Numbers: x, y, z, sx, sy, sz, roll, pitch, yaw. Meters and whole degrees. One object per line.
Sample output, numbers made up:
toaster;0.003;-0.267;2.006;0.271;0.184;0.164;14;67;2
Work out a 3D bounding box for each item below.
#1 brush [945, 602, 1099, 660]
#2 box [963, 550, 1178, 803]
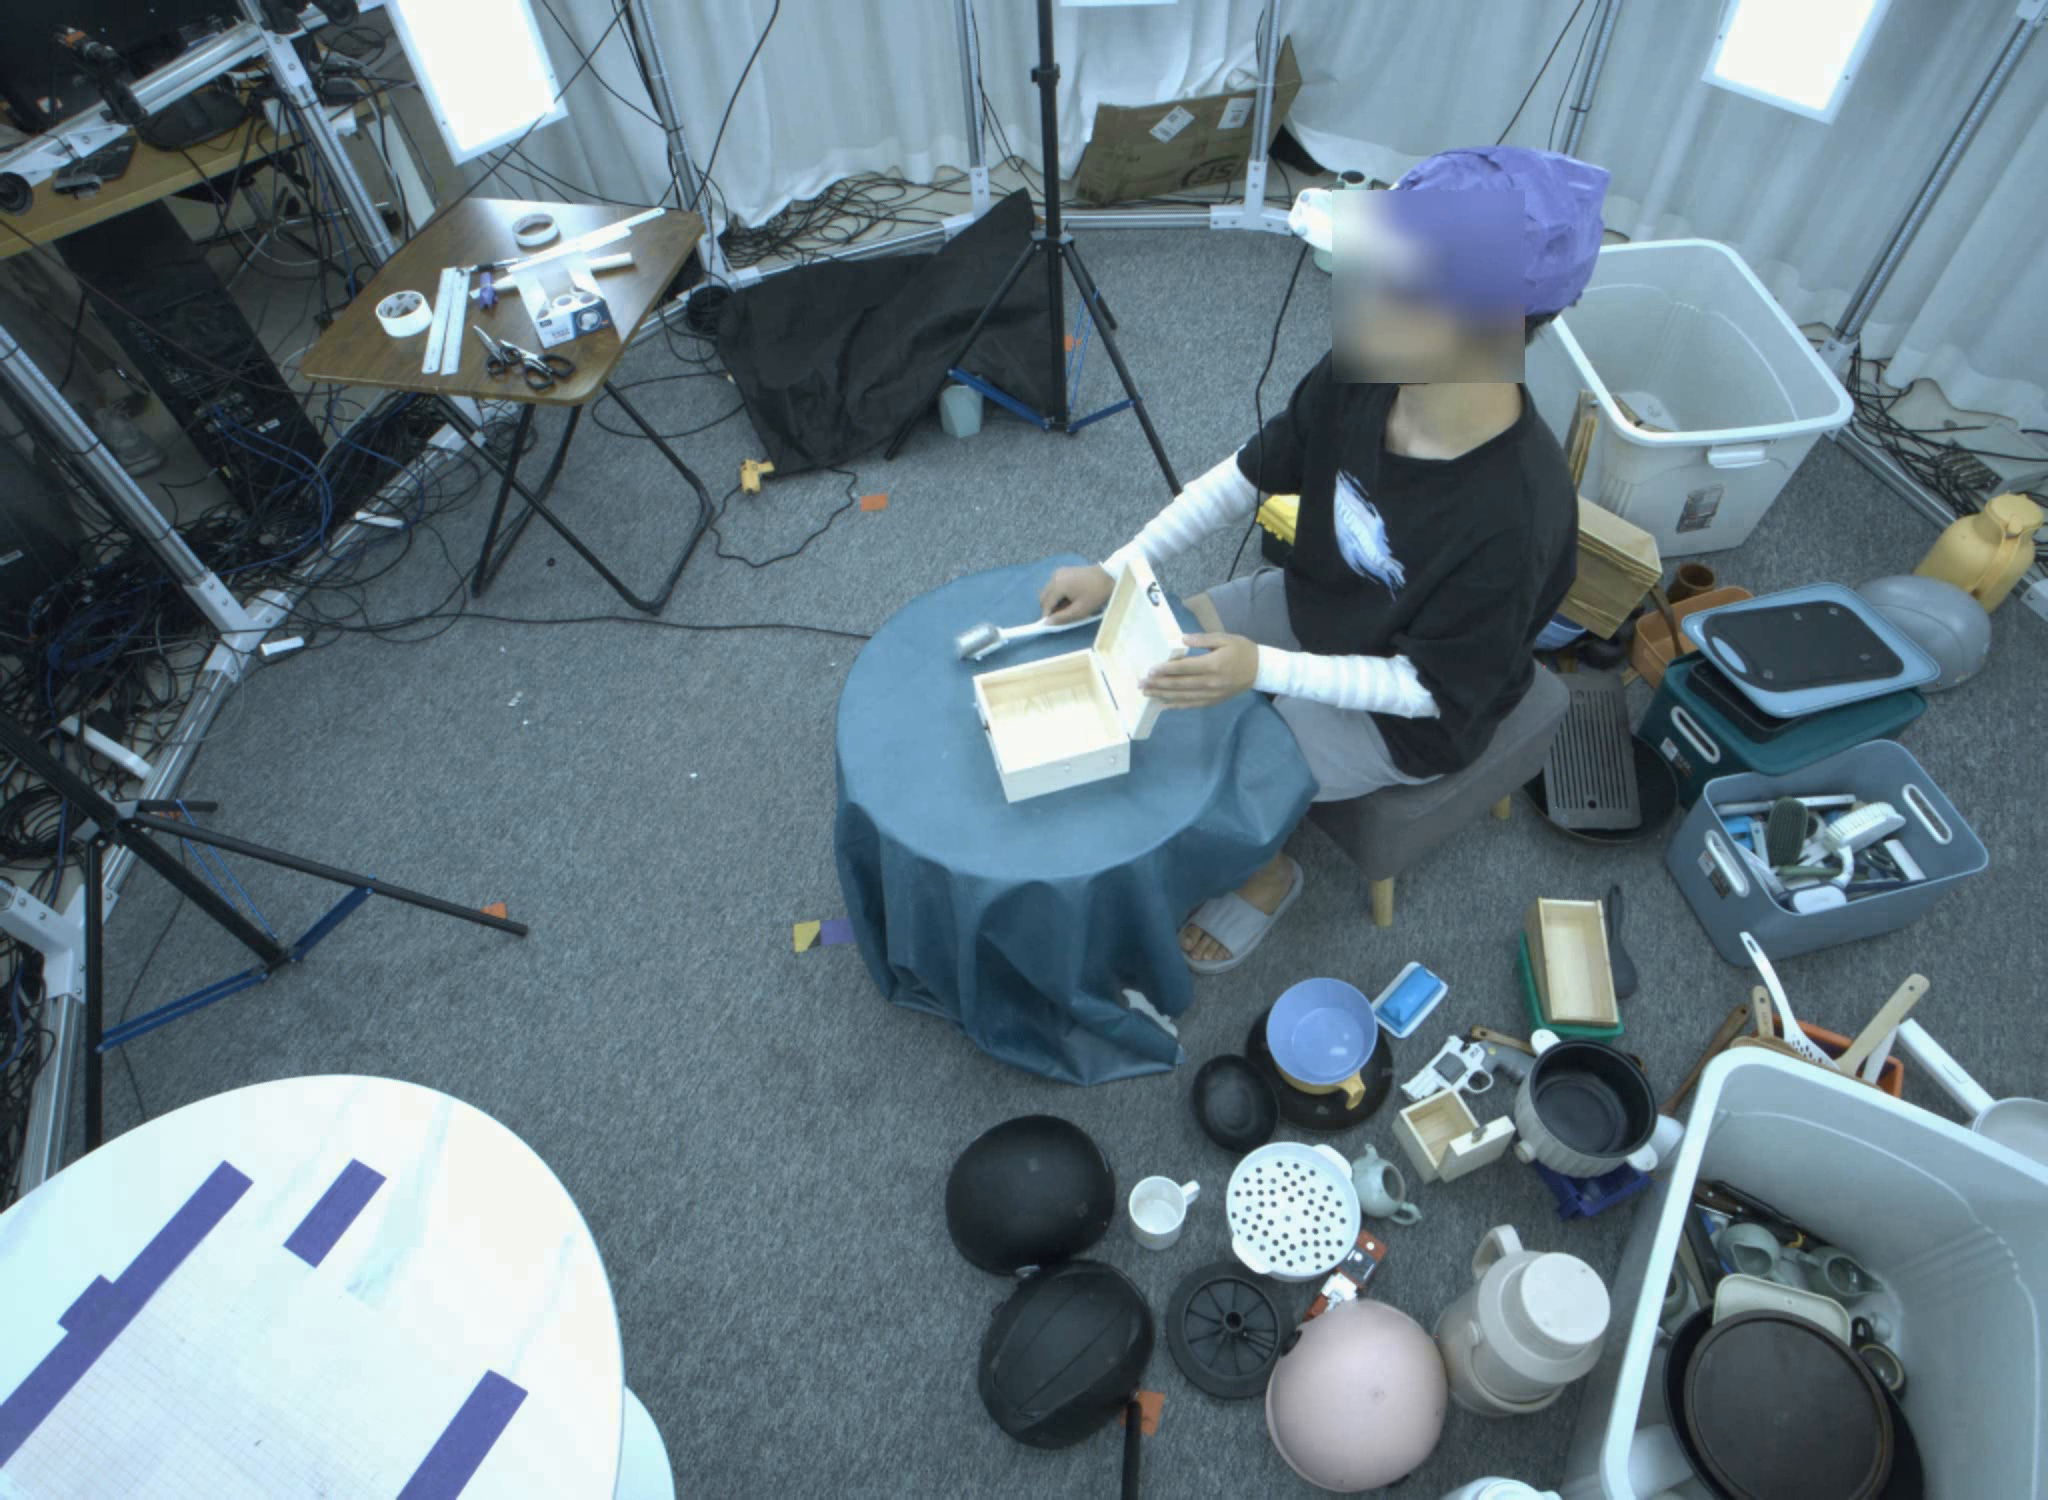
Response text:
brush;-0.001;-0.194;1.877;0.244;0.051;0.034;-18;63;-5
box;0.053;-0.100;1.695;0.267;0.256;0.178;-16;53;-8
